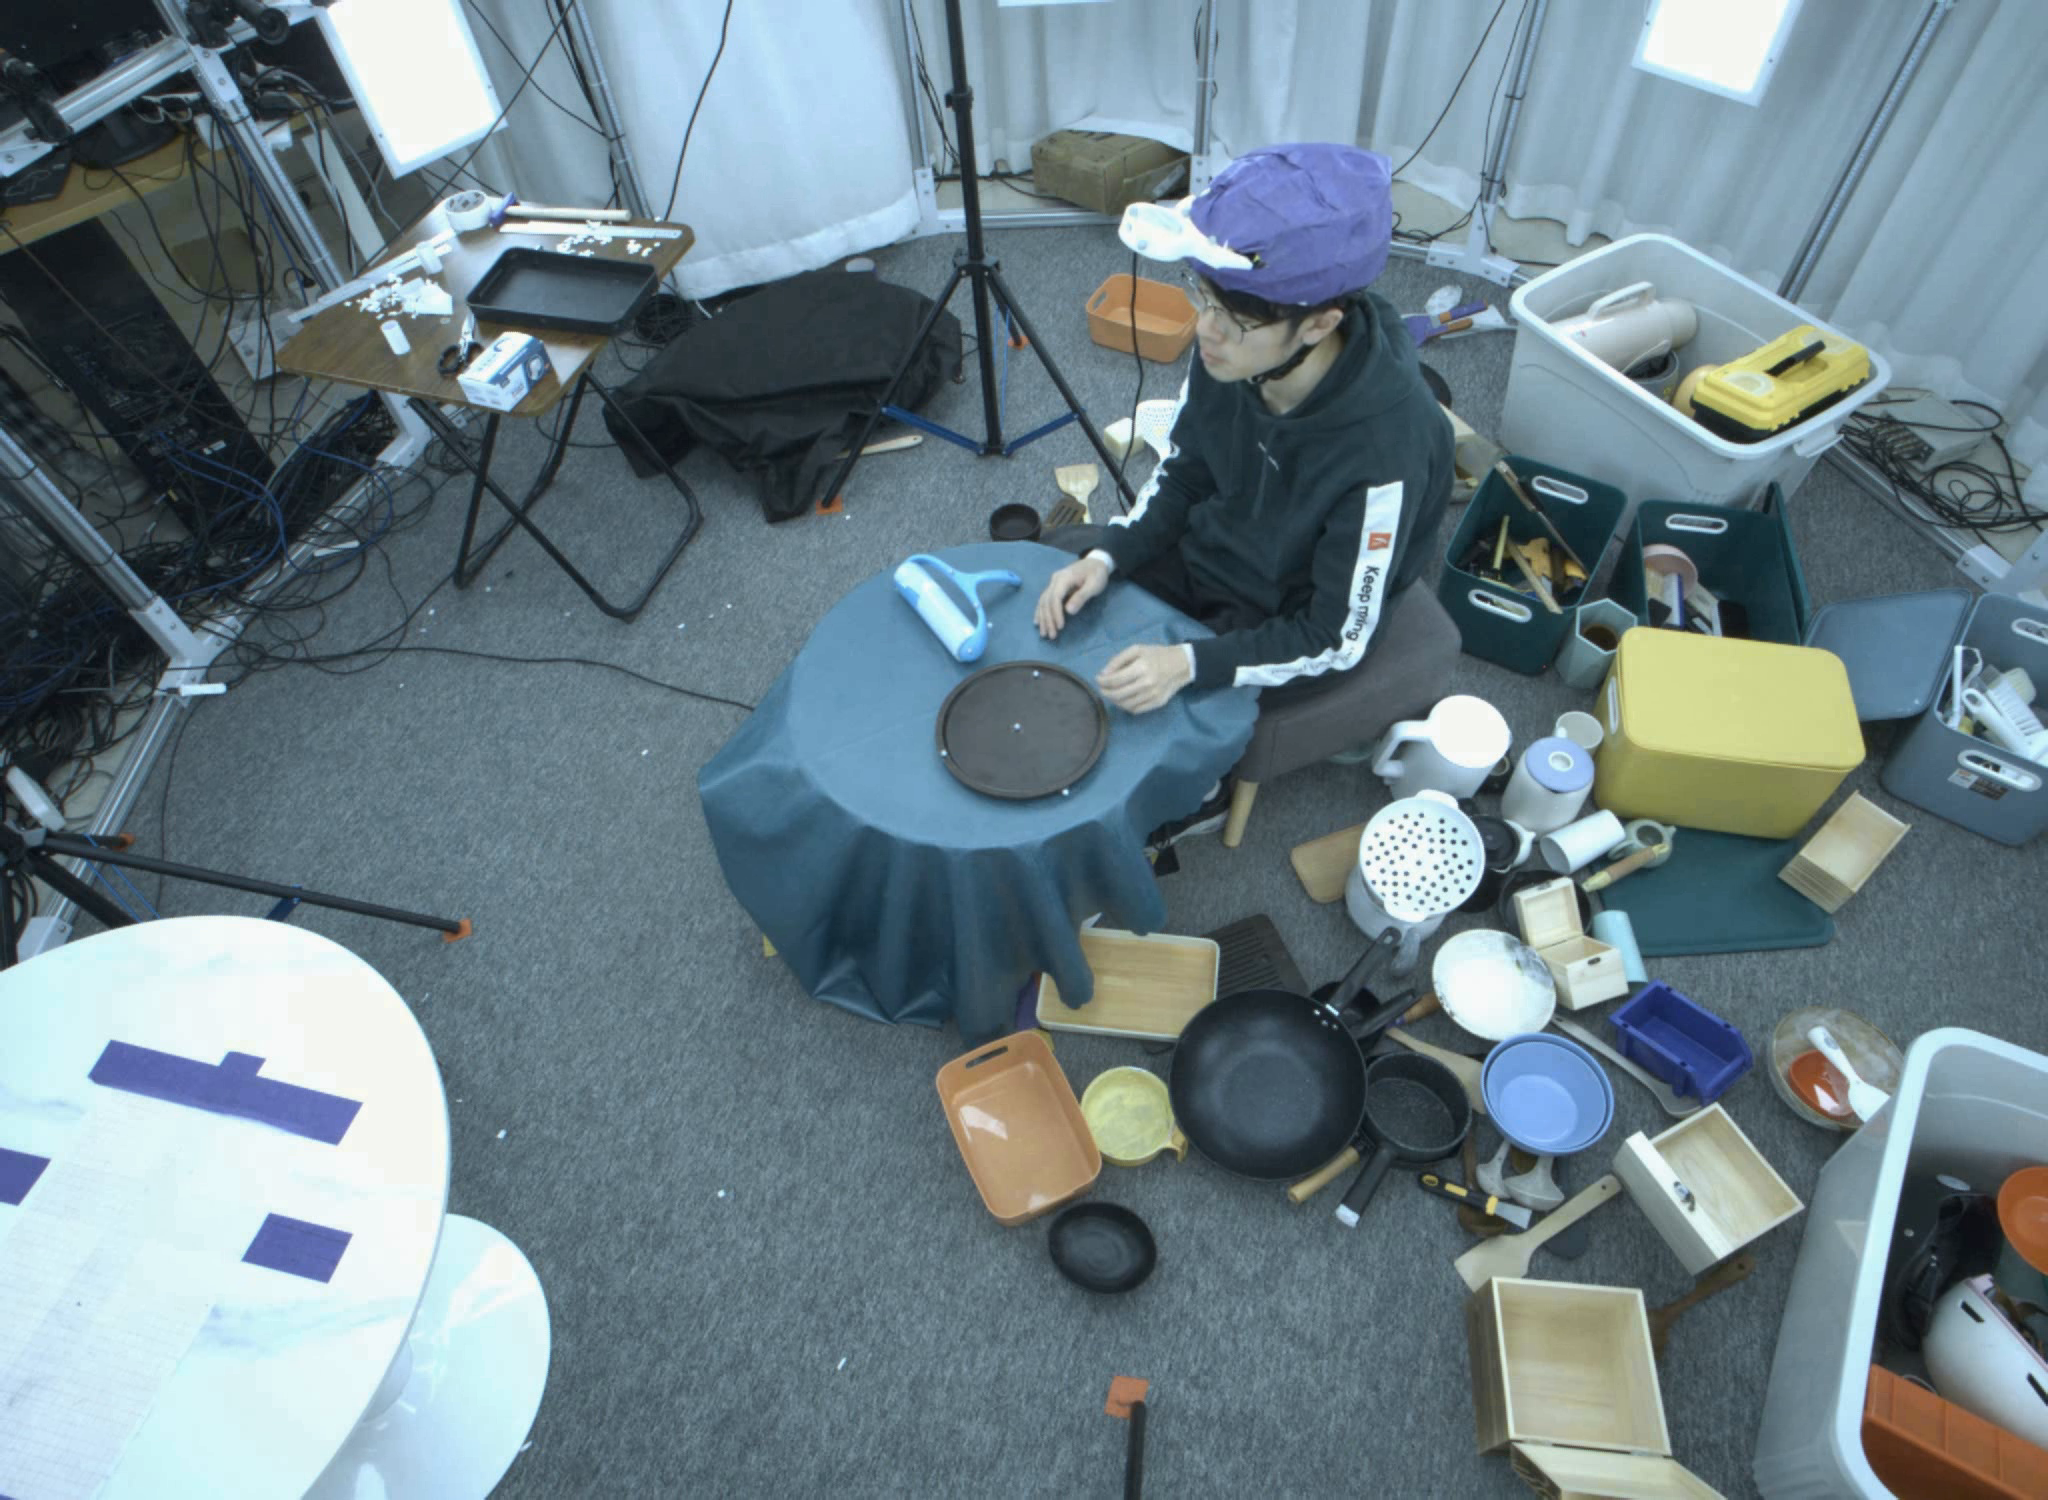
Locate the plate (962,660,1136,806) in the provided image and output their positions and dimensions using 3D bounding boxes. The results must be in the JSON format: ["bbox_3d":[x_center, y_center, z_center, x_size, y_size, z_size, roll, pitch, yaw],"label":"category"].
[{"bbox_3d":[0.036,-0.024,1.785,0.254,0.029,0.252,-1,56,2],"label":"plate"}]

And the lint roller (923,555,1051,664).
[{"bbox_3d":[-0.039,-0.244,1.922,0.181,0.069,0.224,-31,58,-17],"label":"lint roller"}]
